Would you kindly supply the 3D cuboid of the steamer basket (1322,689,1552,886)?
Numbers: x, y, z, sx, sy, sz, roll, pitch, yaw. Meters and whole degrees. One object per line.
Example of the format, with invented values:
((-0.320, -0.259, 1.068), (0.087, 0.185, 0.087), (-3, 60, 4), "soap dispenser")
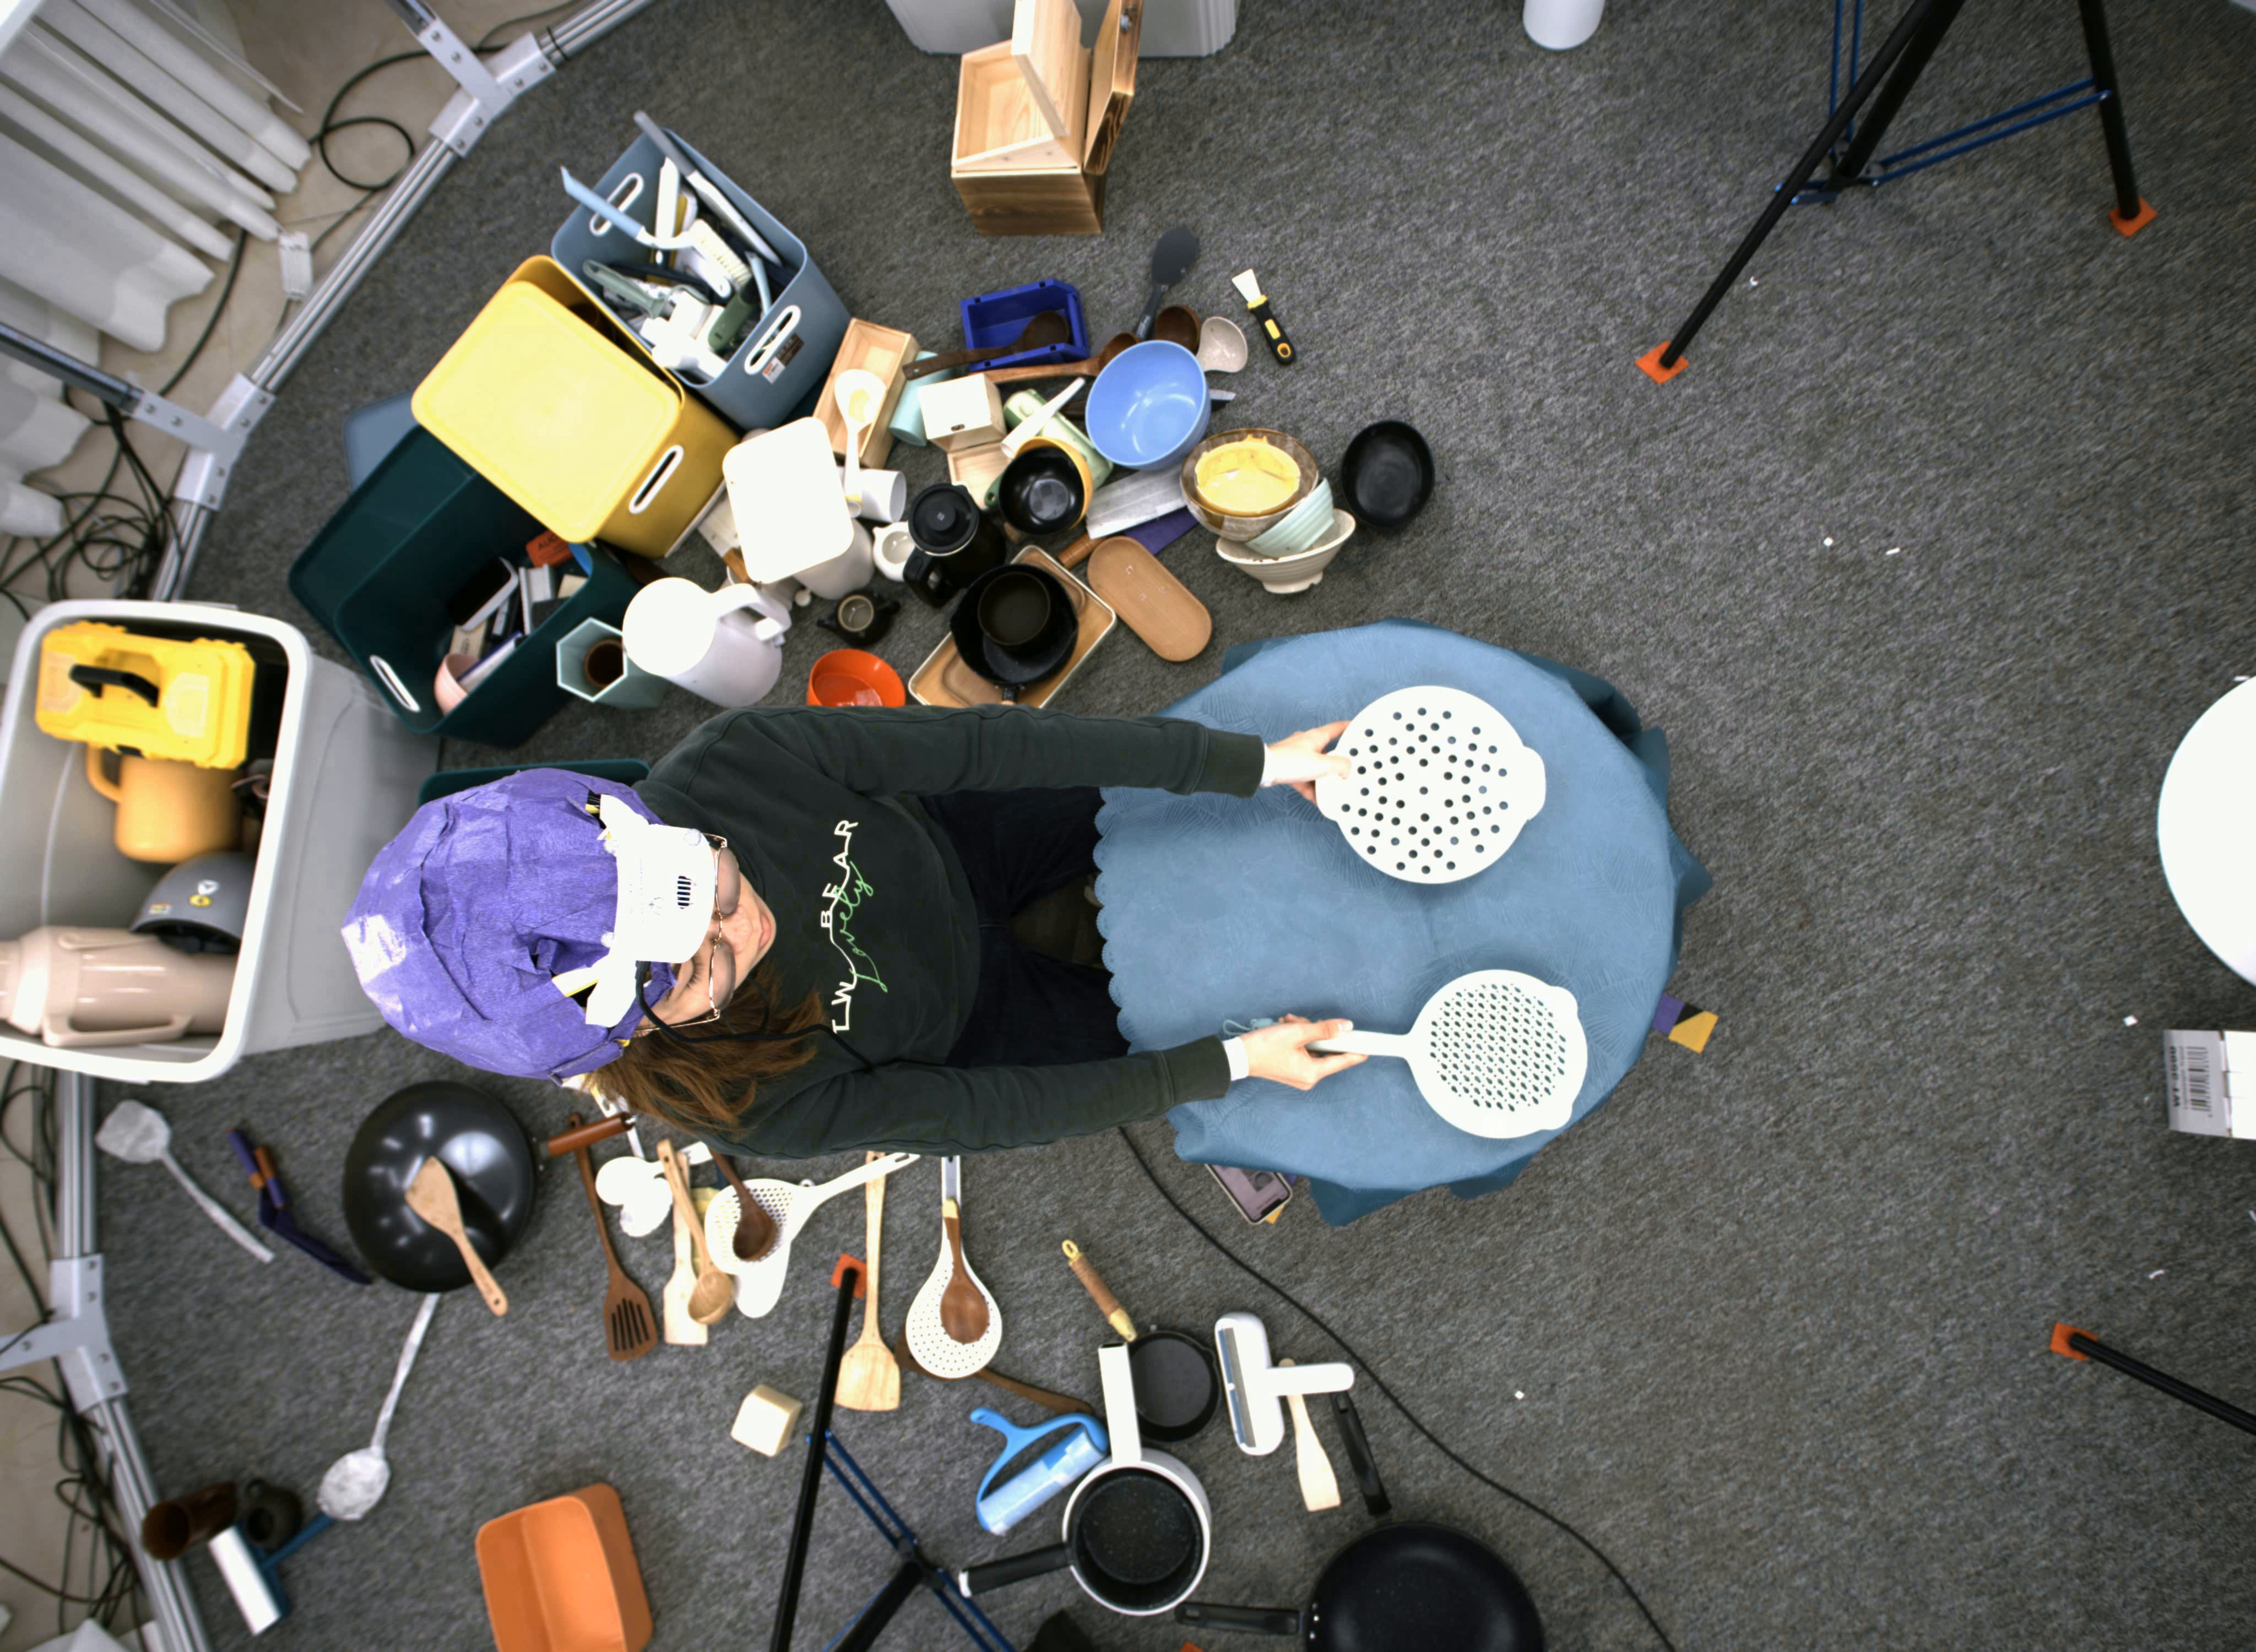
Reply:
((0.316, -0.039, 1.424), (0.231, 0.069, 0.201), (-2, 86, 7), "steamer basket")

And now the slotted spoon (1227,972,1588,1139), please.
((0.279, 0.222, 1.410), (0.360, 0.075, 0.170), (2, 94, 7), "slotted spoon")
